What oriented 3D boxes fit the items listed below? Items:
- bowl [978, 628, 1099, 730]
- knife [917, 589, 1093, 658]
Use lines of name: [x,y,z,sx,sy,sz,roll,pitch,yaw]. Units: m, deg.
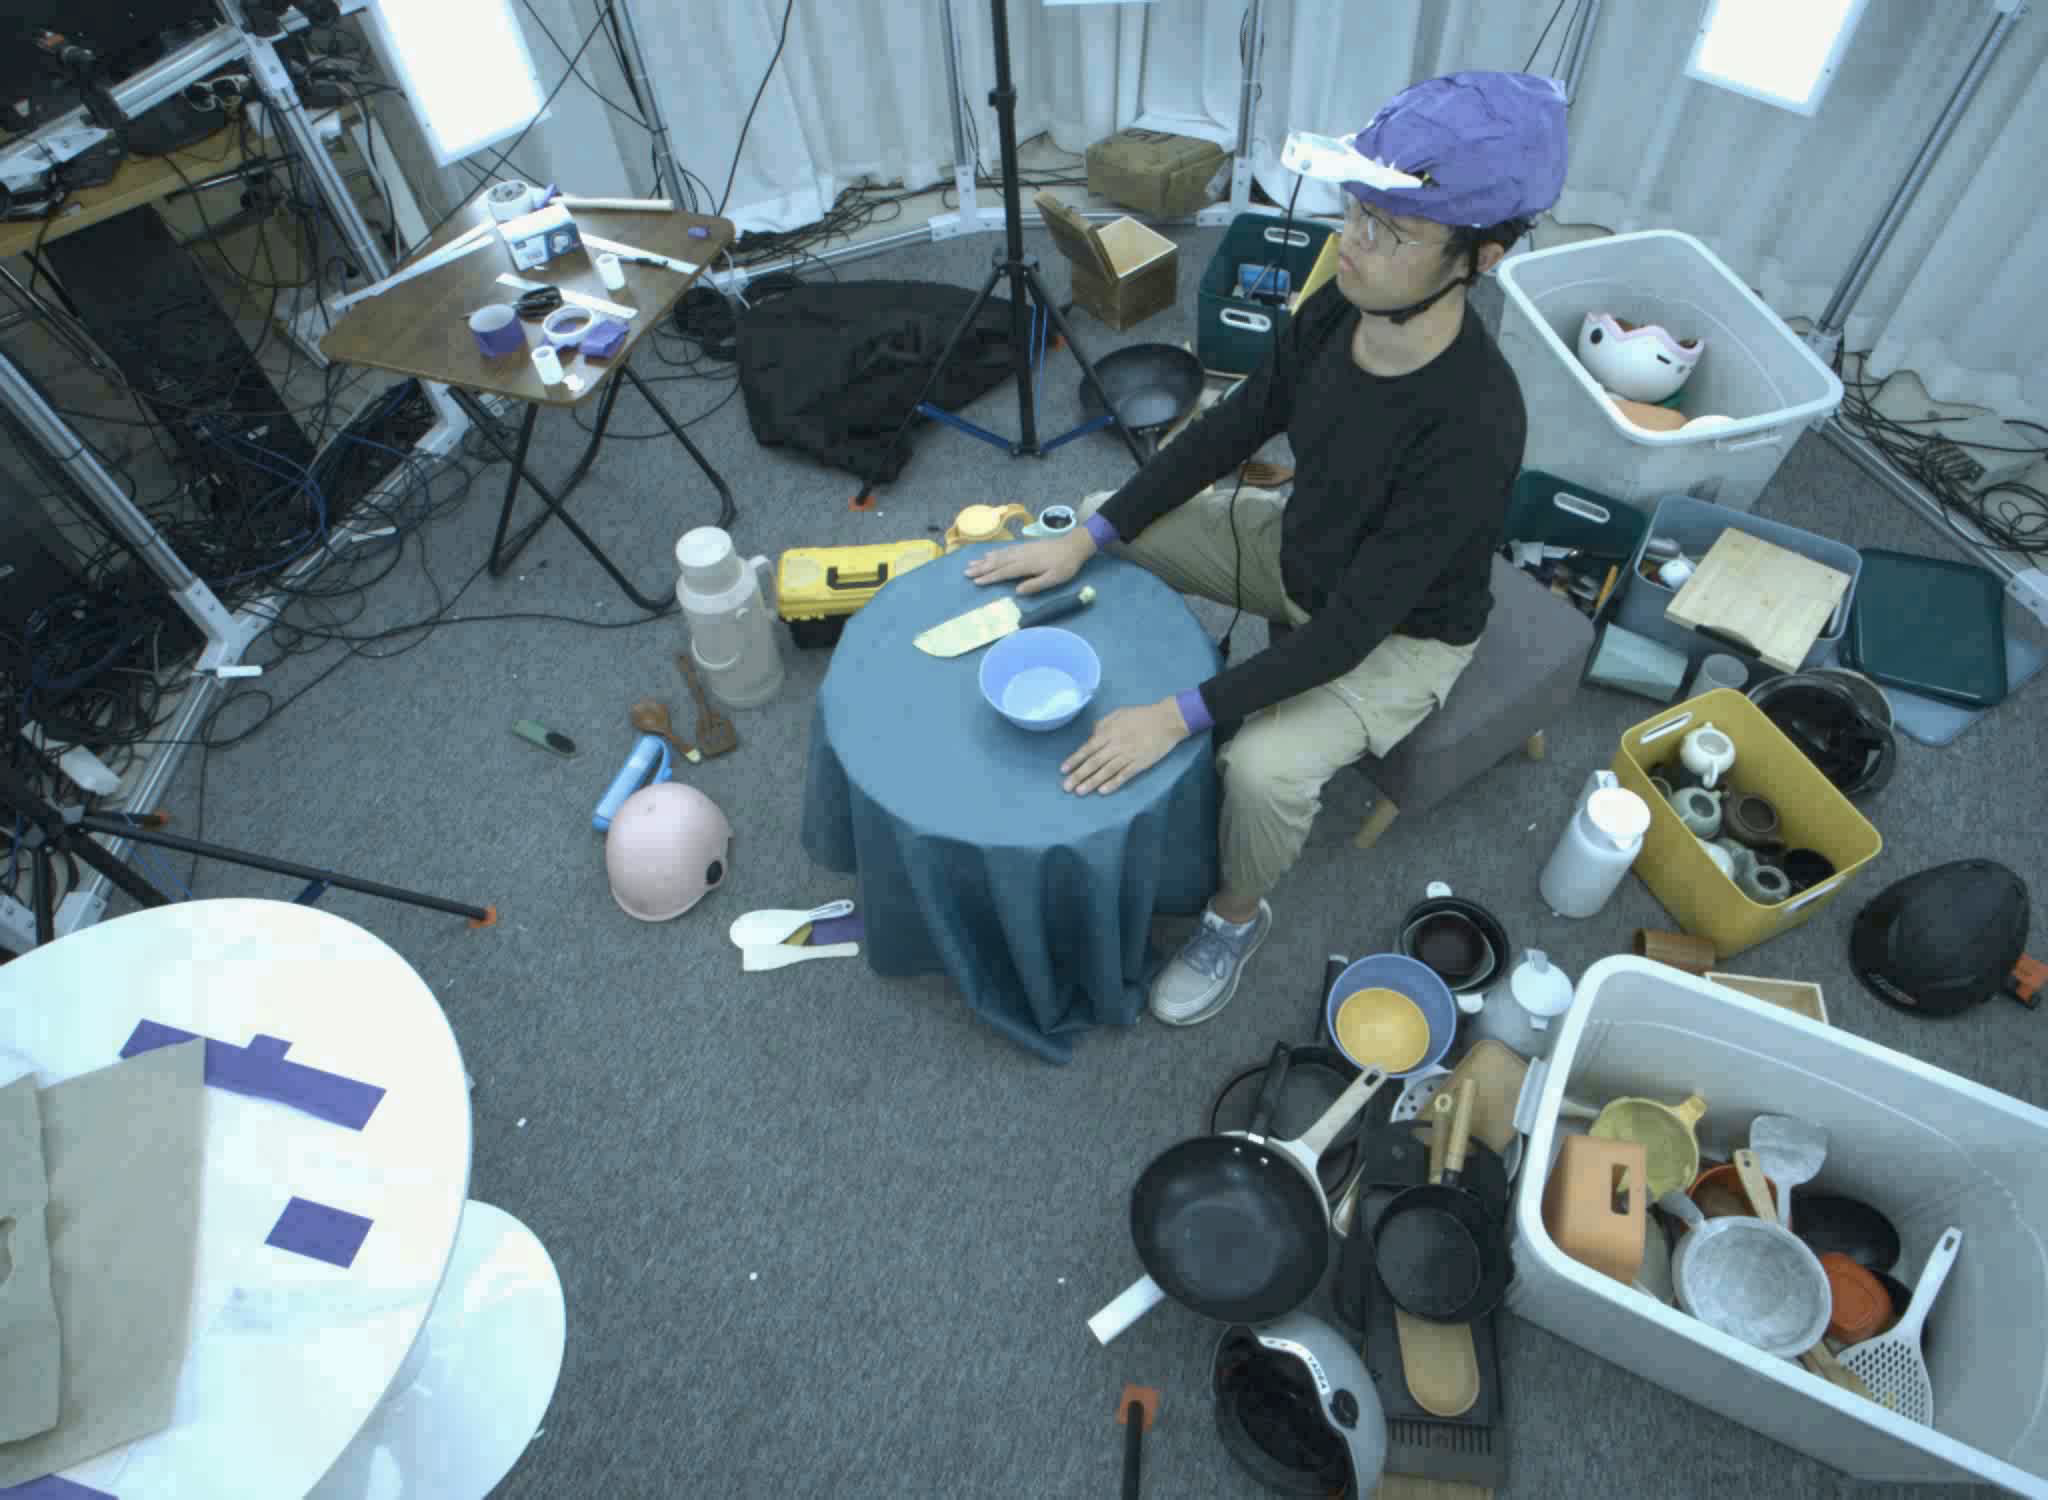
bowl: [0.023,-0.095,1.808,0.176,0.071,0.174,-1,54,2]
knife: [-0.031,-0.206,1.923,0.291,0.027,0.079,-19,57,-11]
